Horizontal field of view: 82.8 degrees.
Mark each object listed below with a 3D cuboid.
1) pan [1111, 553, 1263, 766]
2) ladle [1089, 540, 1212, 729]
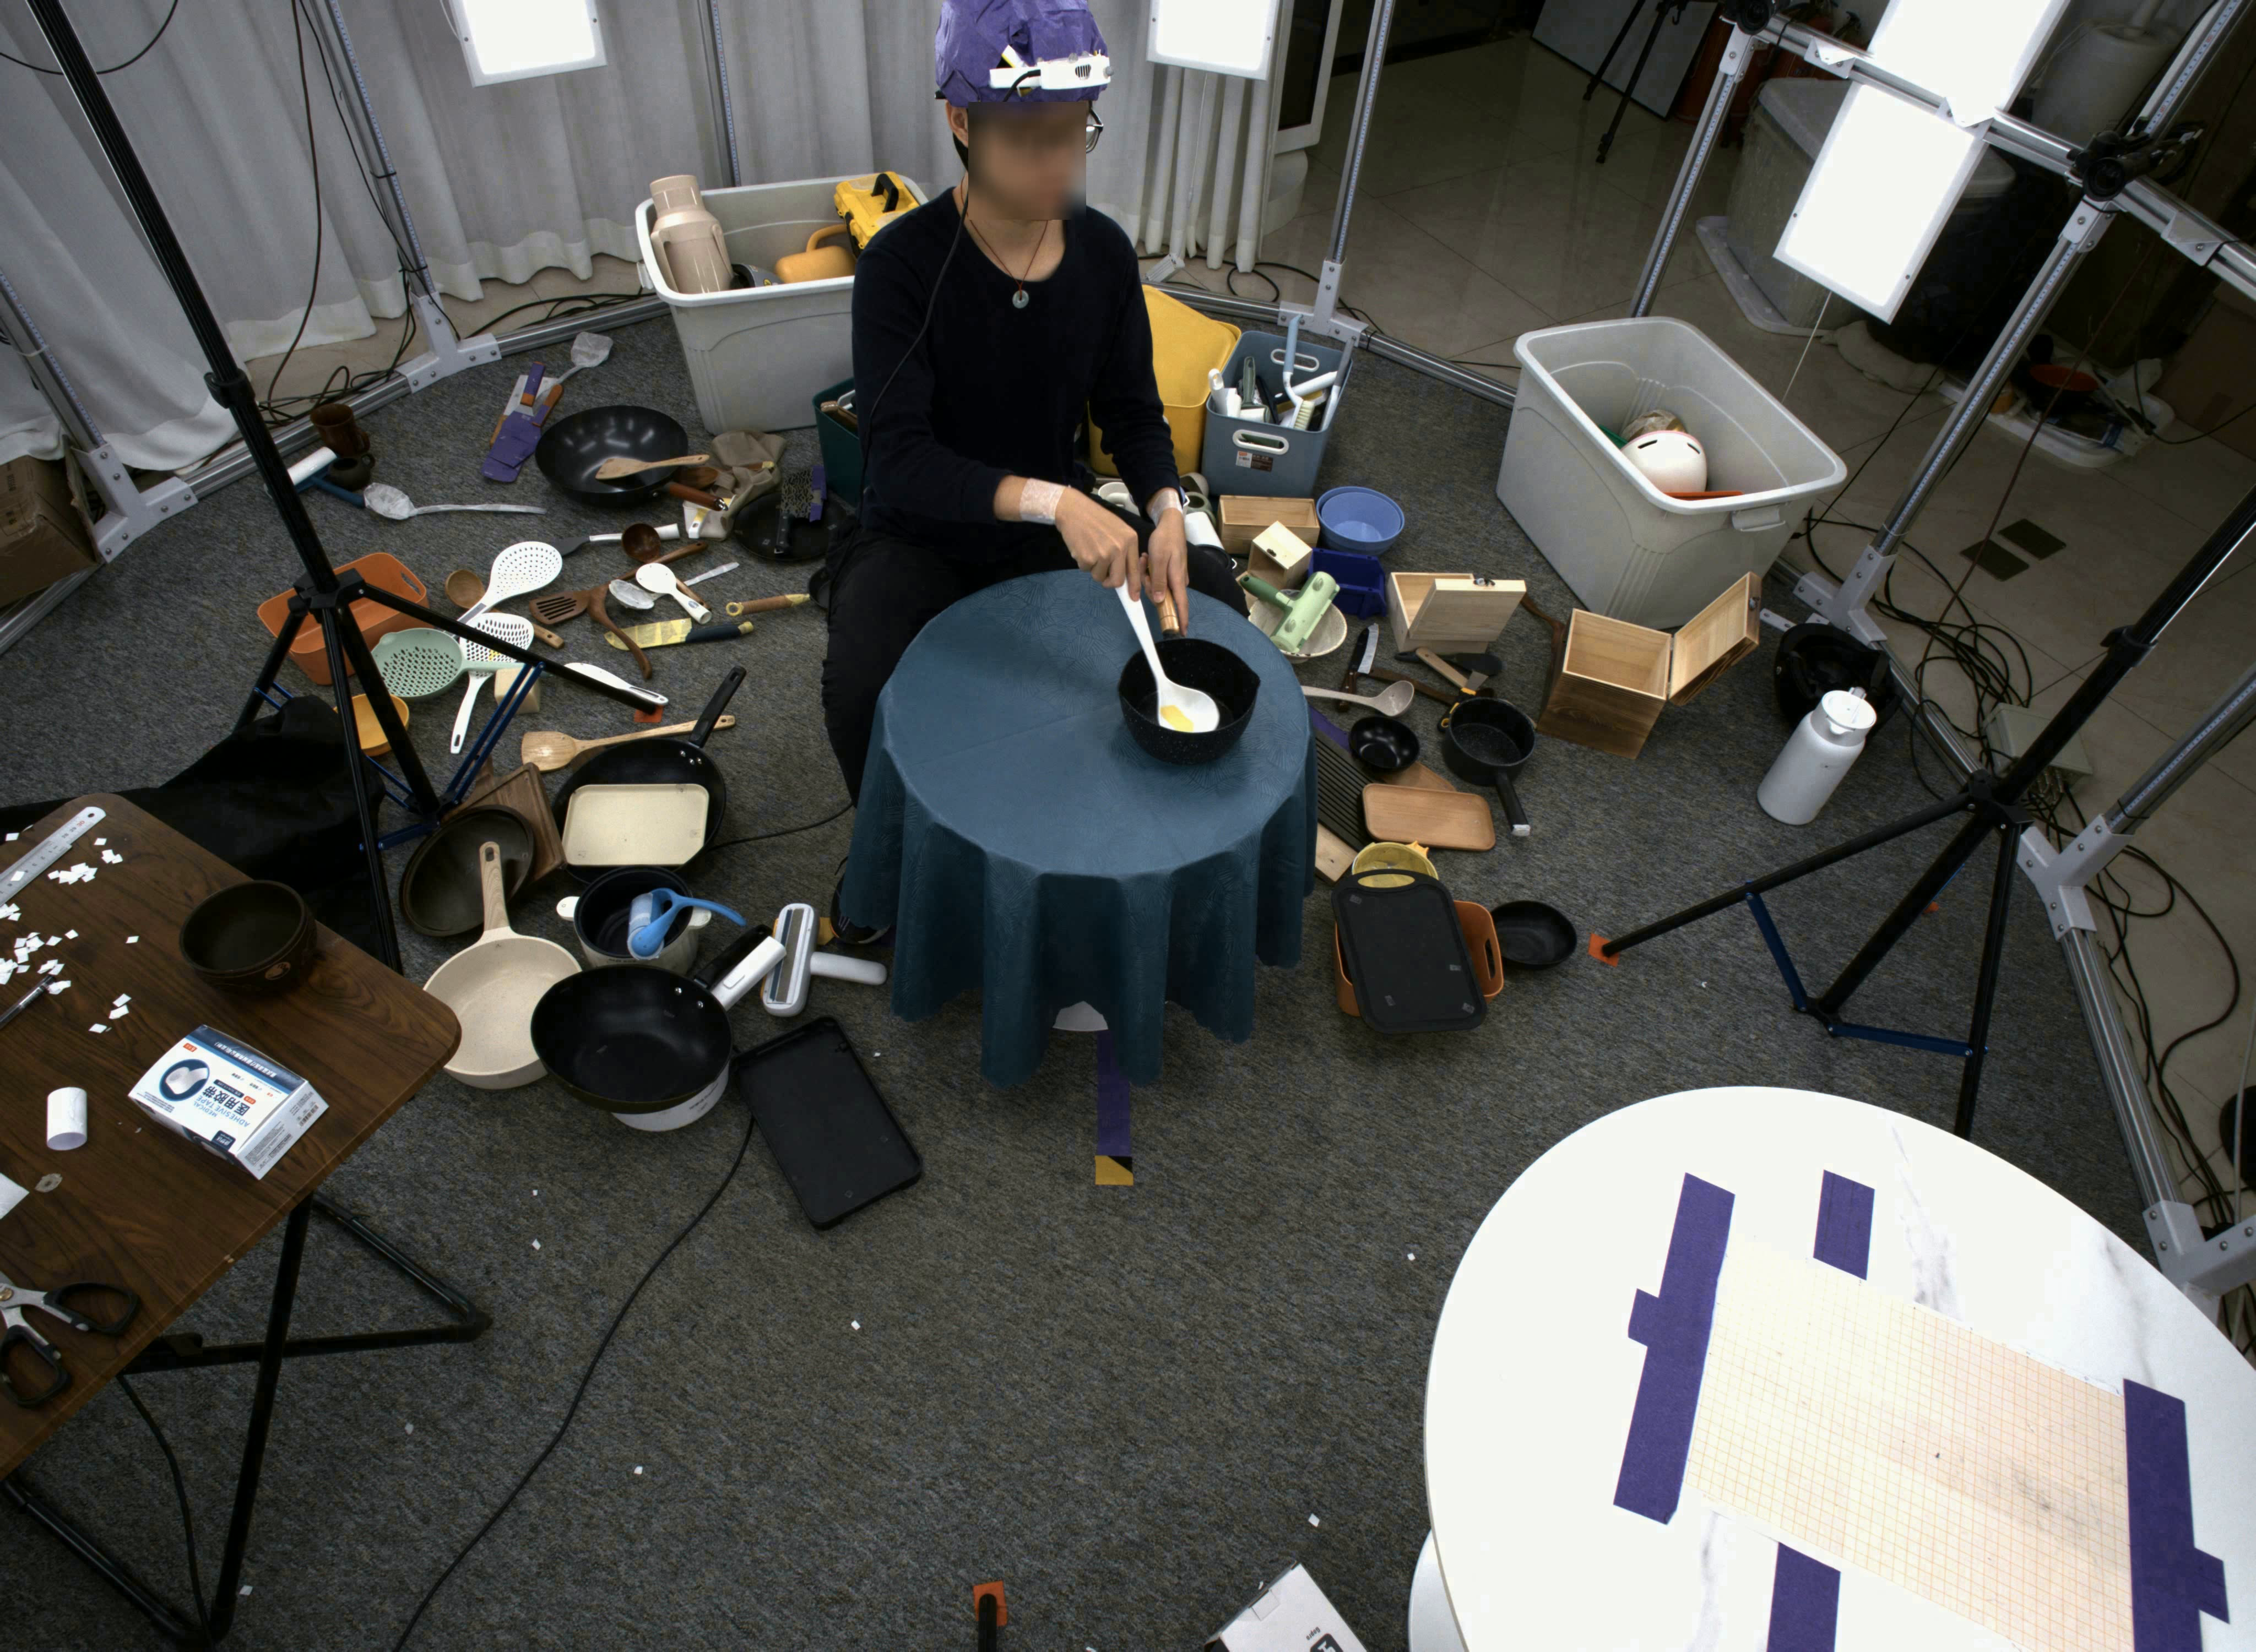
[{"bbox_3d":[0.065,-0.234,1.807,0.207,0.105,0.351,-7,51,-9],"label":"pan"},{"bbox_3d":[0.025,-0.244,1.723,0.090,0.288,0.071,-31,24,-14],"label":"ladle"}]
